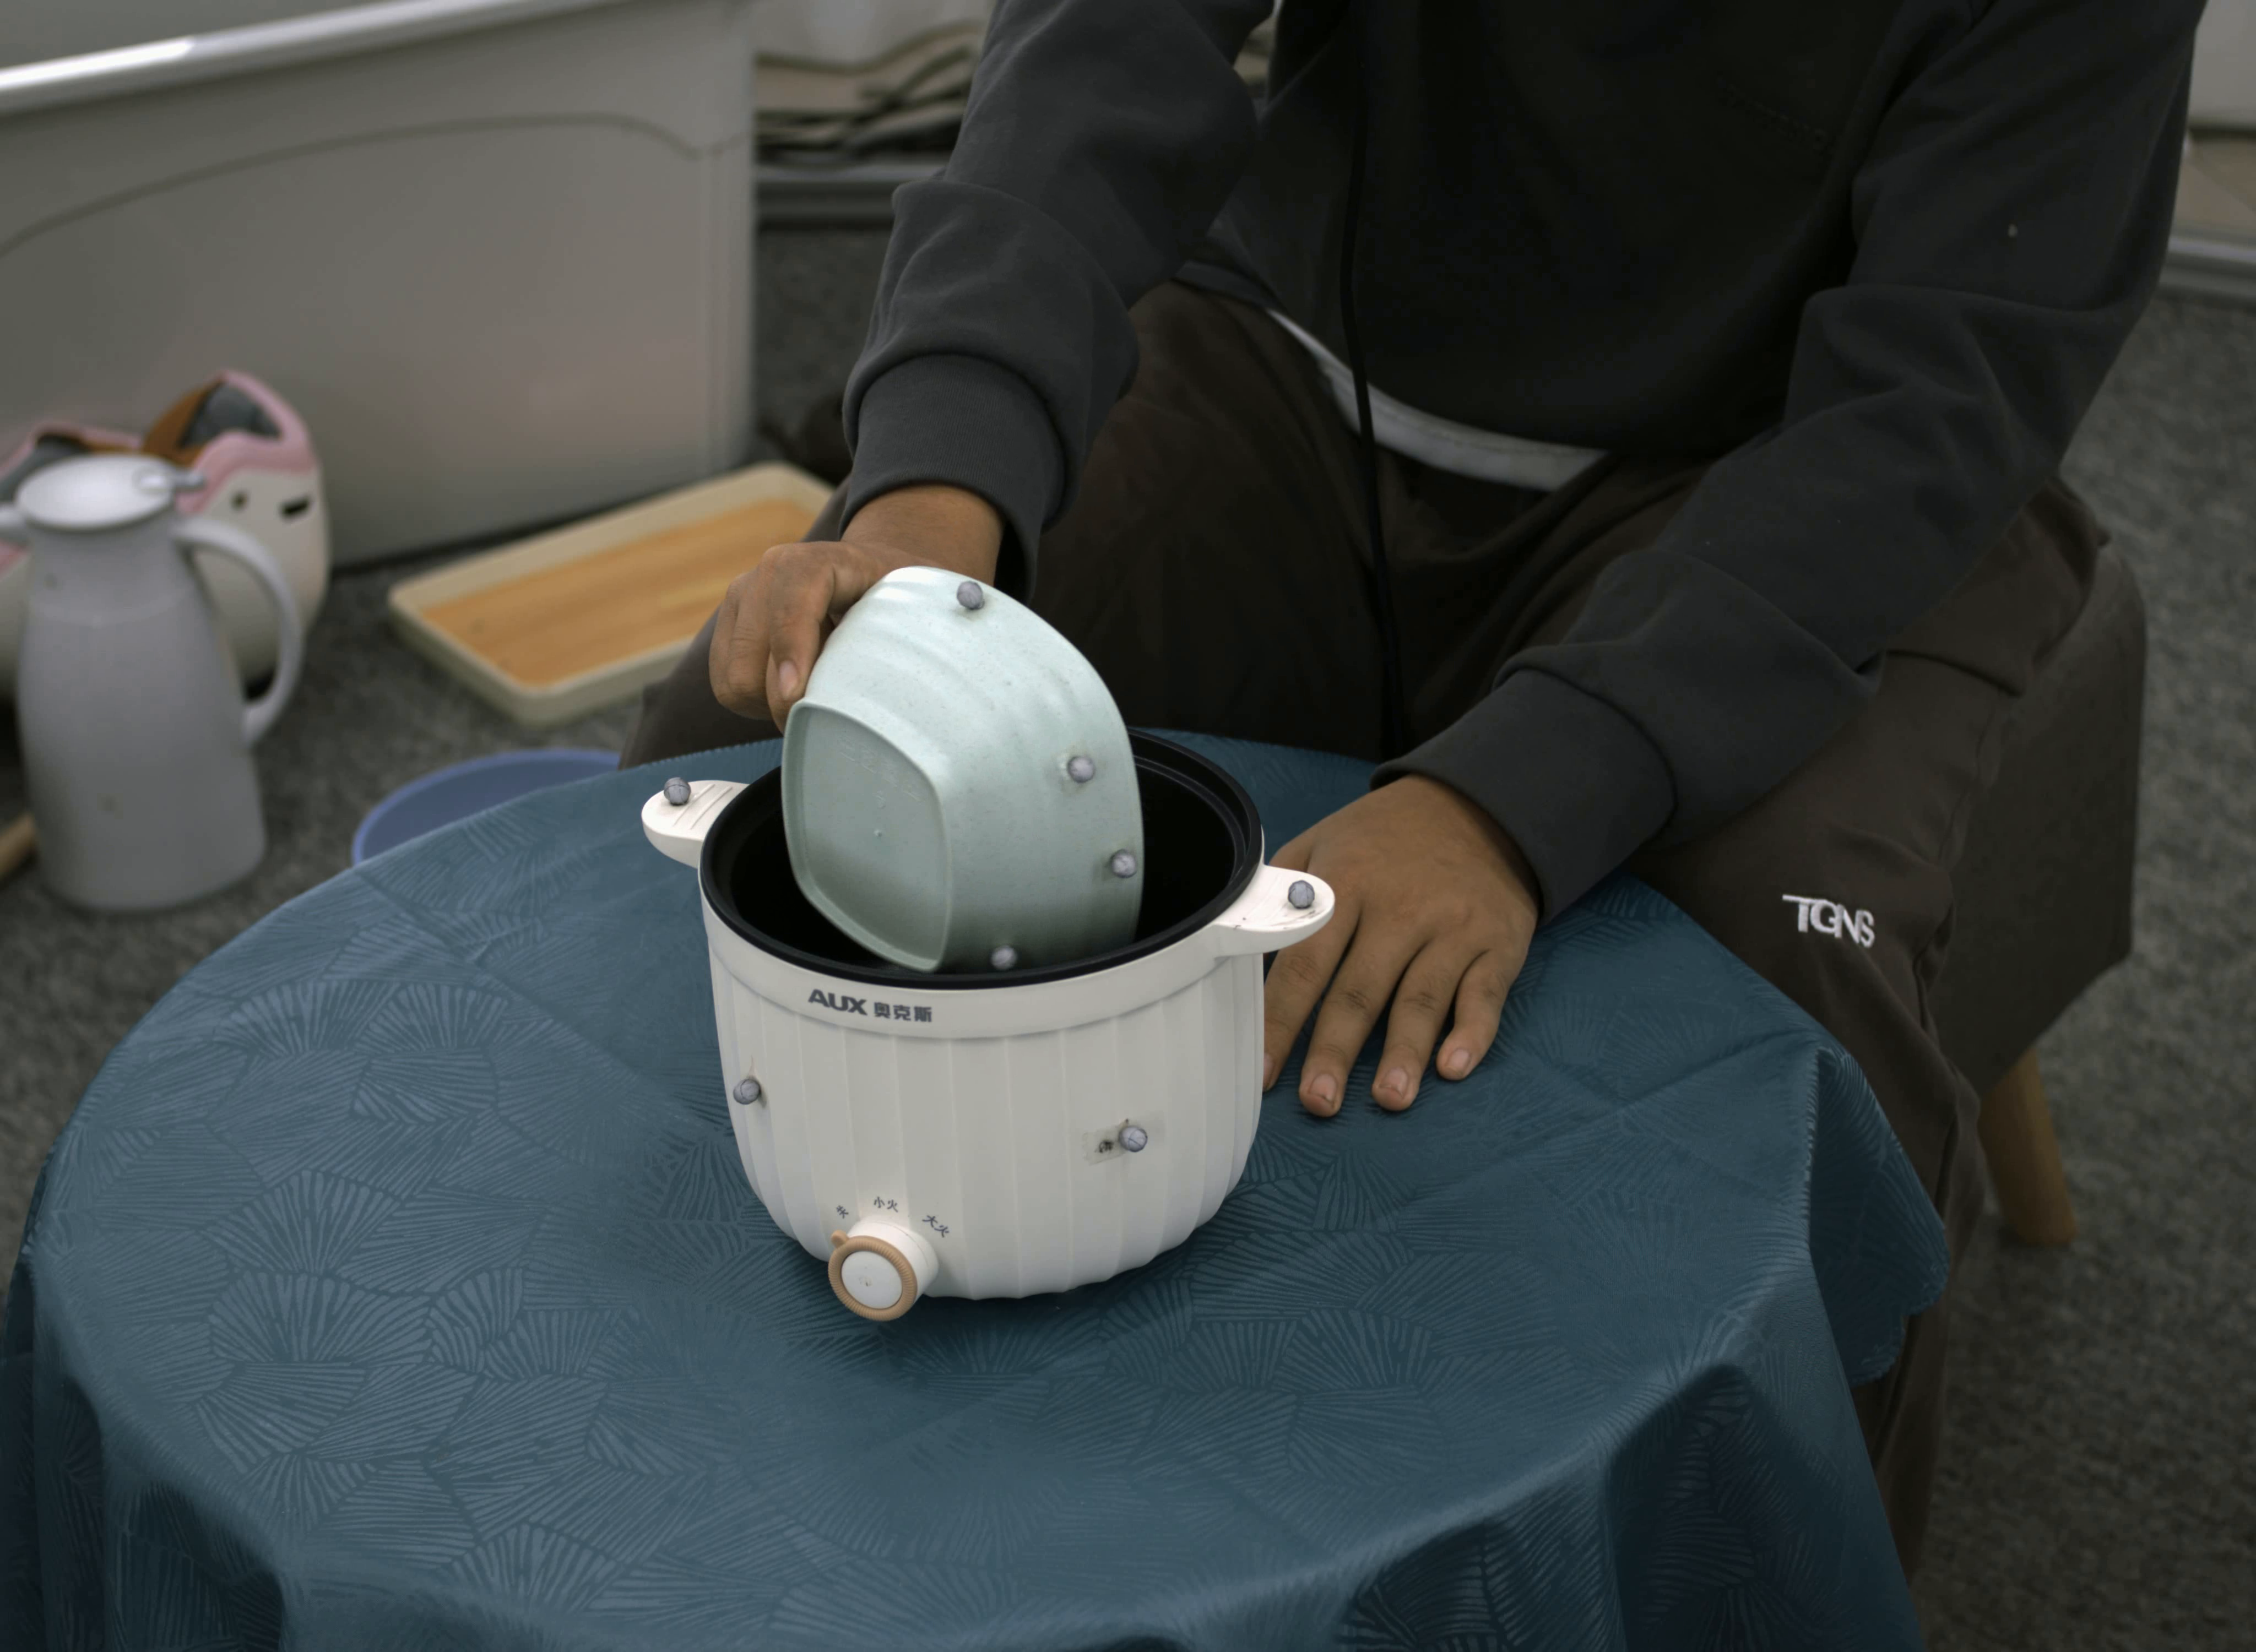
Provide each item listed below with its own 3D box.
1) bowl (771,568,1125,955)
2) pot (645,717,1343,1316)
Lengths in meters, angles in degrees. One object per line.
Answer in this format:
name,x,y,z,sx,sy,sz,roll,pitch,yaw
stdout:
bowl,-0.066,-0.005,1.799,0.059,0.150,0.151,-22,32,-35
pot,-0.043,0.064,1.828,0.238,0.141,0.193,6,25,20
